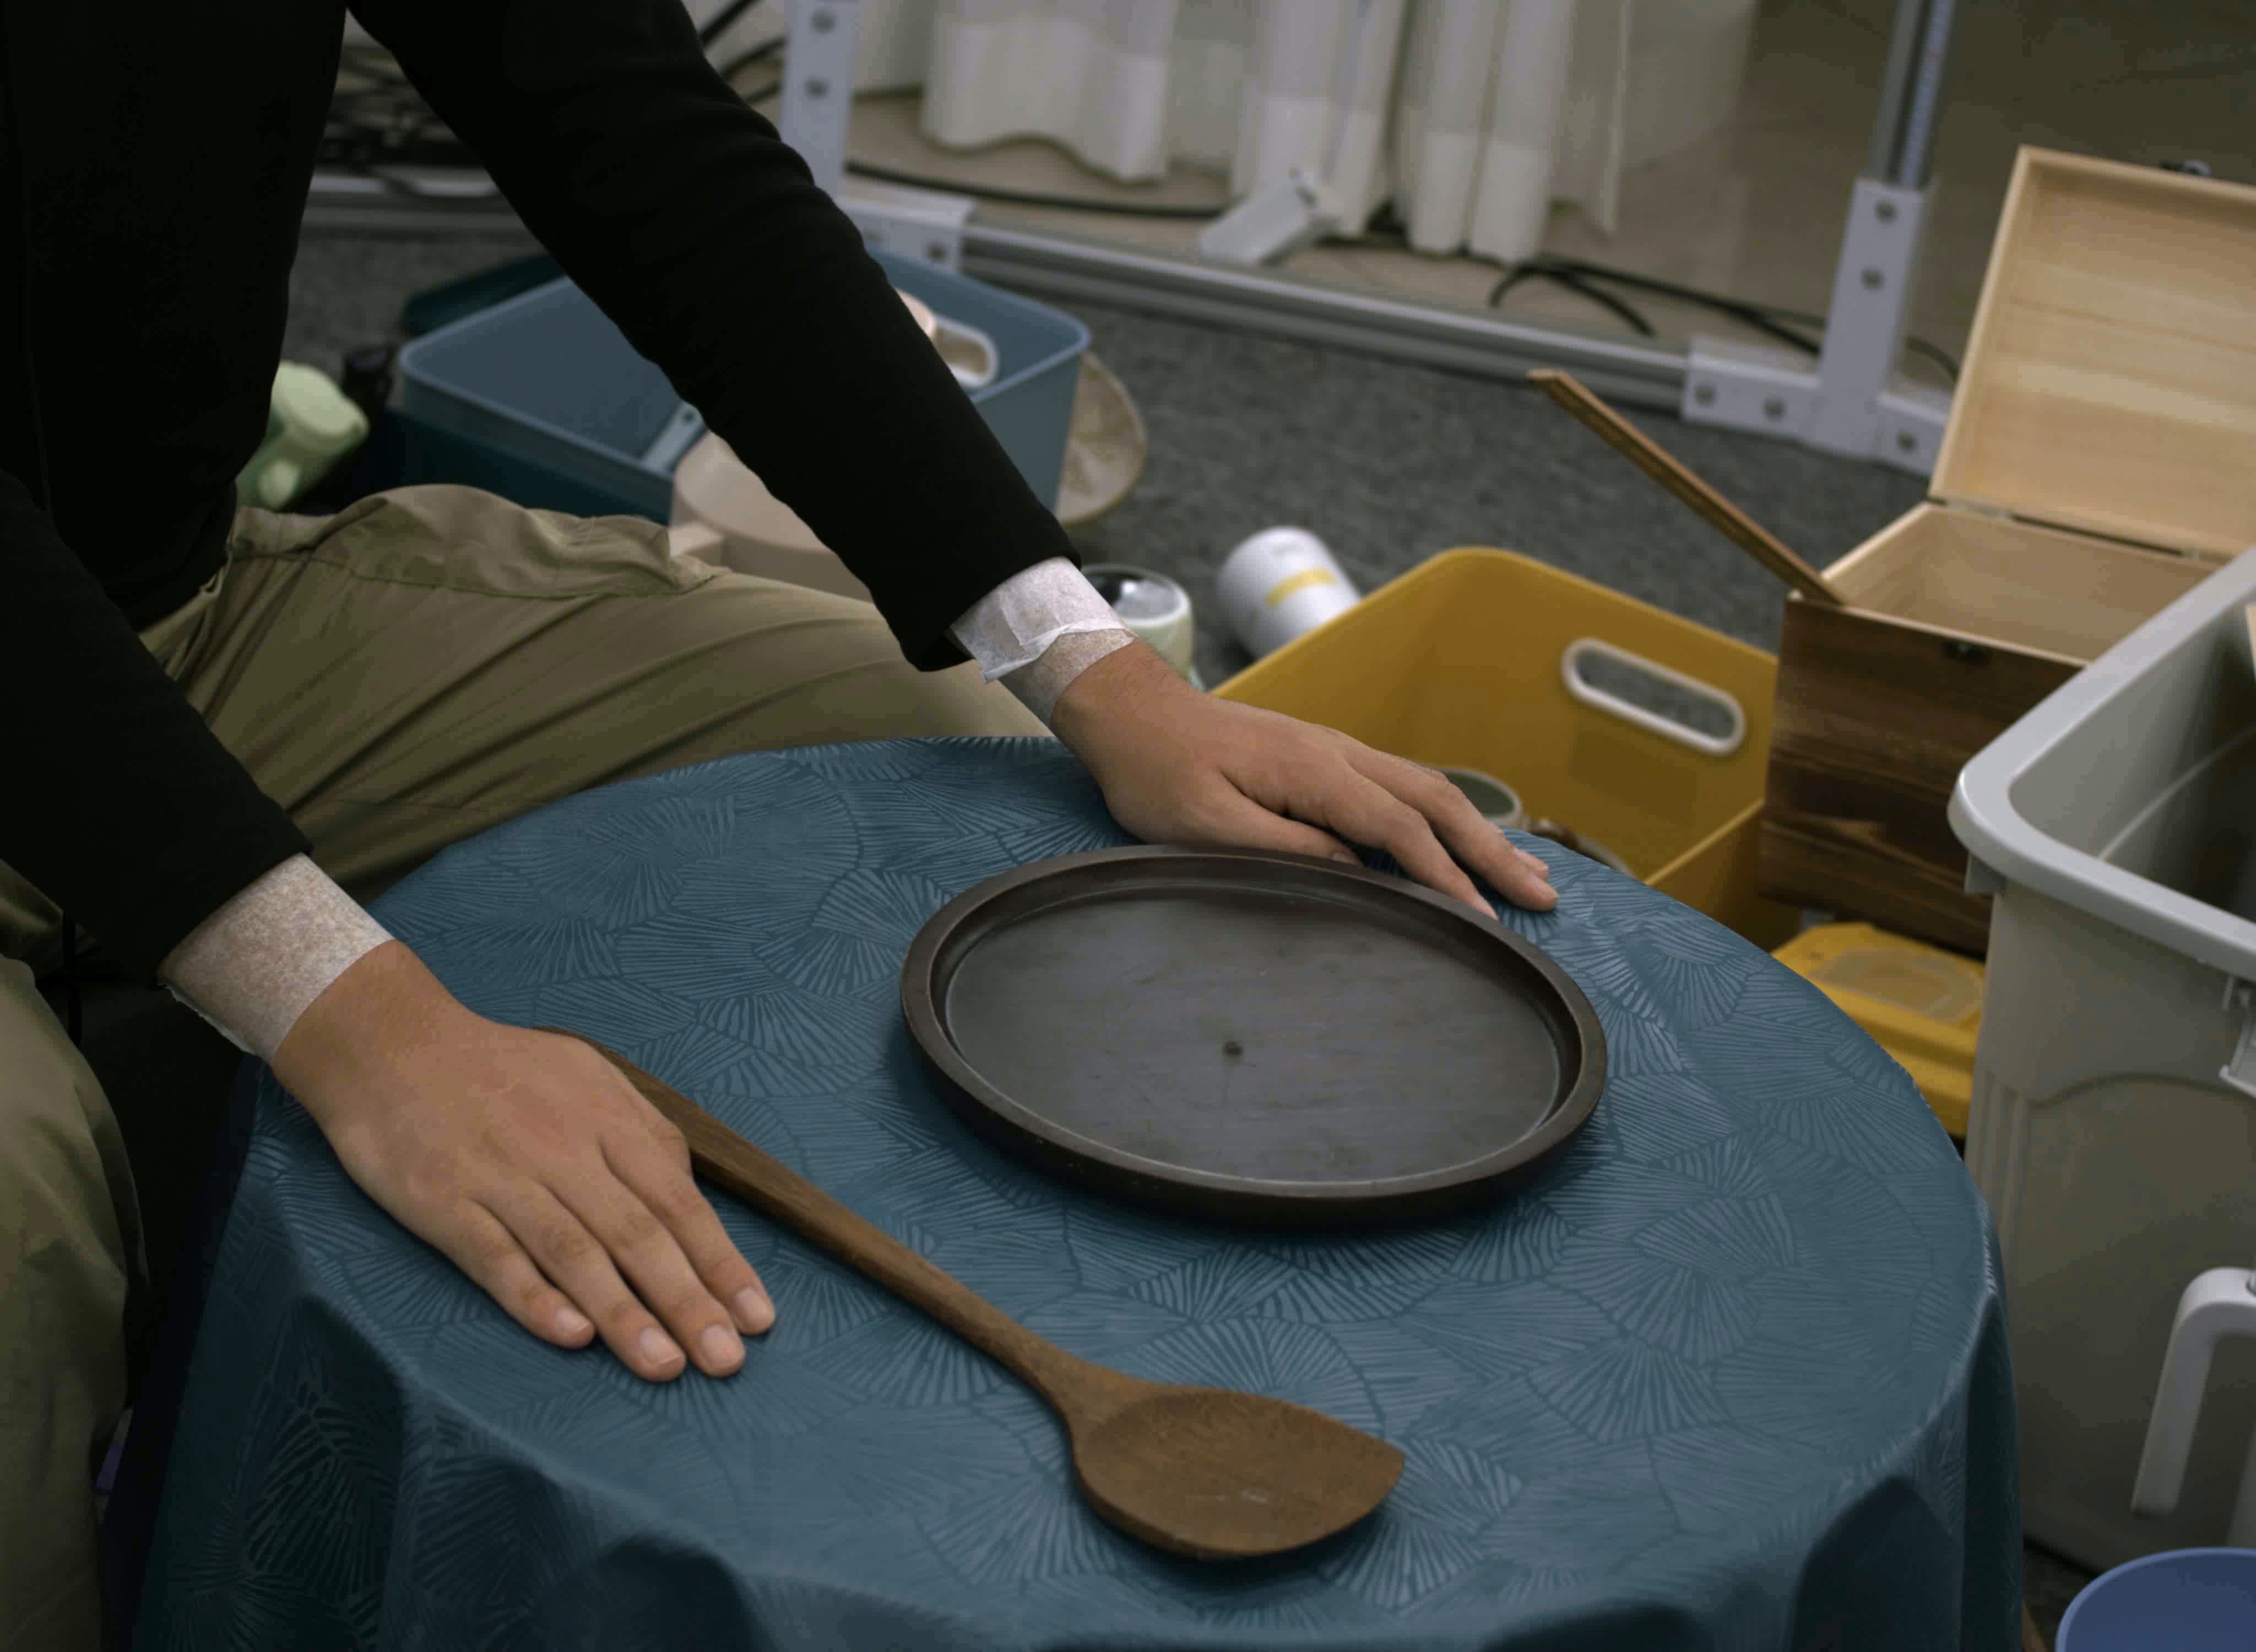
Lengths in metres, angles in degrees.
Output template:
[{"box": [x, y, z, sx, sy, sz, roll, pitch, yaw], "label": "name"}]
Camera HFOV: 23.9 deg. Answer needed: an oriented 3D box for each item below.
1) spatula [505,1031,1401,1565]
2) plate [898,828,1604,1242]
[{"box": [-0.075, 0.144, 1.728, 0.389, 0.016, 0.095, 28, 33, 36], "label": "spatula"}, {"box": [0.043, 0.074, 1.884, 0.254, 0.029, 0.256, 5, 28, -3], "label": "plate"}]
